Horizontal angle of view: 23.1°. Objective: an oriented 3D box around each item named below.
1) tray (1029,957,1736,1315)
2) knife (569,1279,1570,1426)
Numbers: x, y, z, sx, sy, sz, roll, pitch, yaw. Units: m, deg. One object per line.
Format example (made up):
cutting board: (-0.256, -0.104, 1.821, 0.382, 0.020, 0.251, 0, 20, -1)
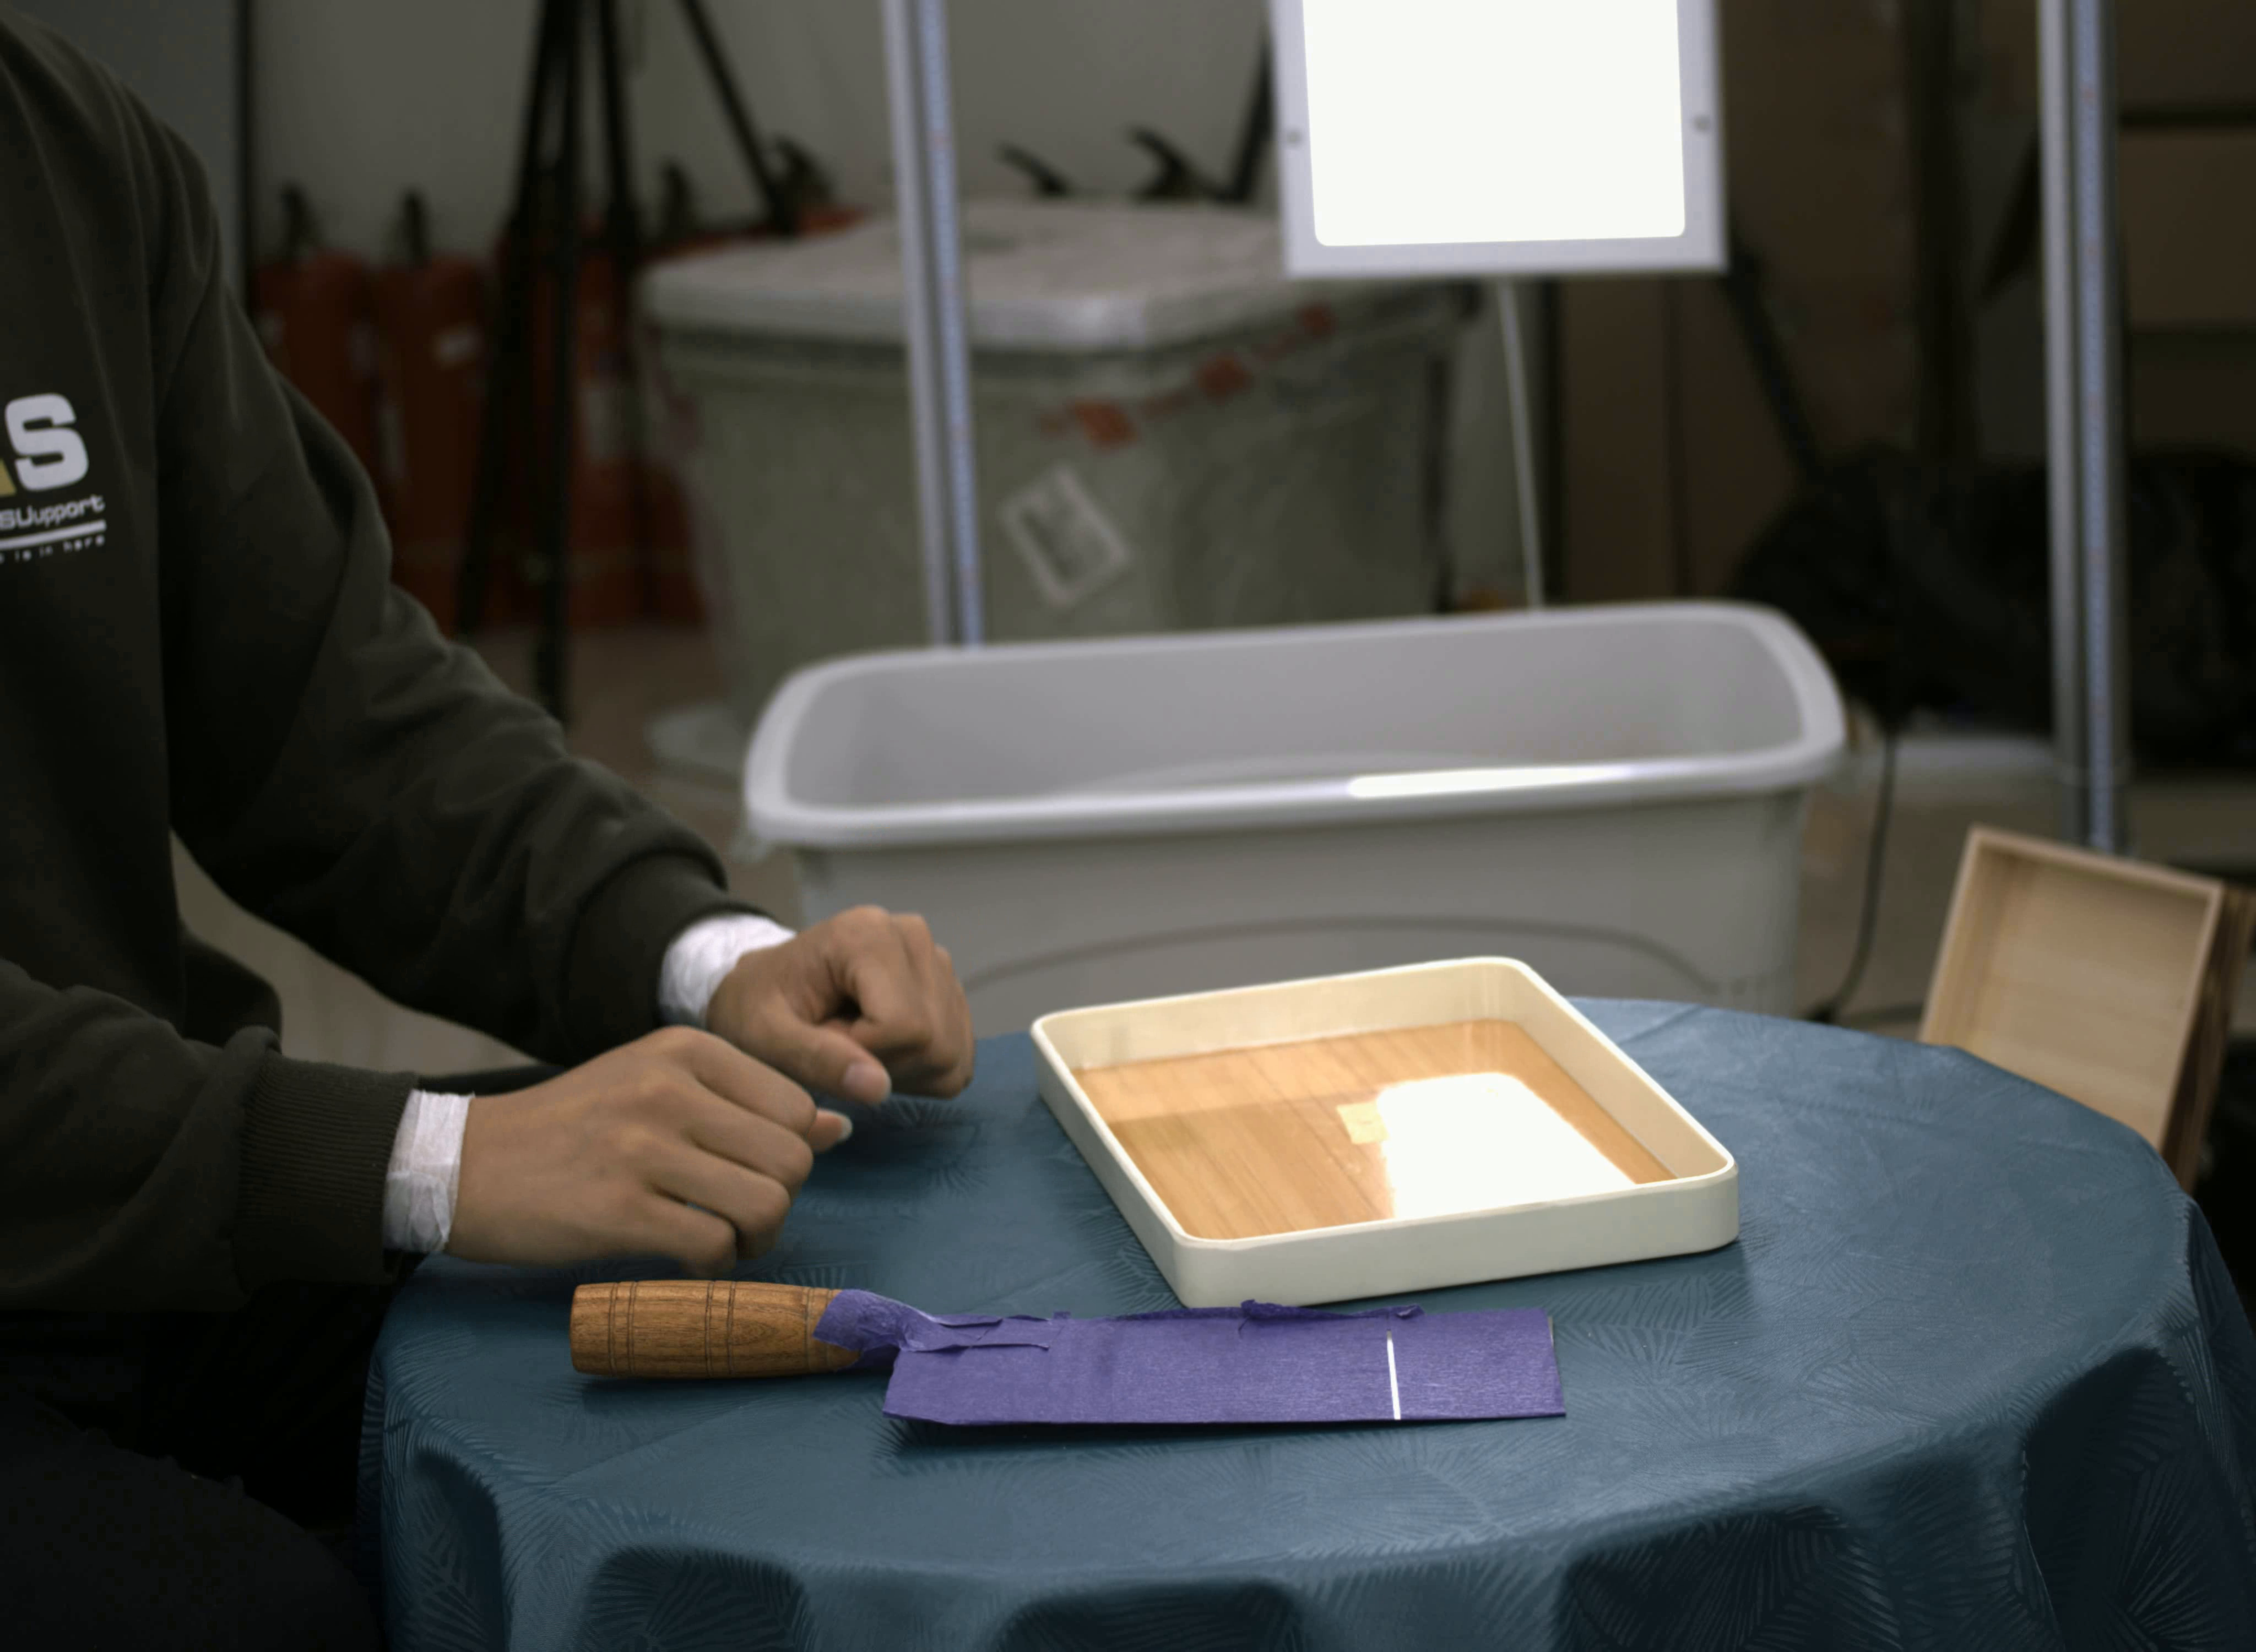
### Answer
tray: (0.082, 0.103, 1.910, 0.190, 0.027, 0.302, -8, 14, -8)
knife: (-0.021, 0.162, 1.705, 0.315, 0.032, 0.103, -3, 13, 5)
